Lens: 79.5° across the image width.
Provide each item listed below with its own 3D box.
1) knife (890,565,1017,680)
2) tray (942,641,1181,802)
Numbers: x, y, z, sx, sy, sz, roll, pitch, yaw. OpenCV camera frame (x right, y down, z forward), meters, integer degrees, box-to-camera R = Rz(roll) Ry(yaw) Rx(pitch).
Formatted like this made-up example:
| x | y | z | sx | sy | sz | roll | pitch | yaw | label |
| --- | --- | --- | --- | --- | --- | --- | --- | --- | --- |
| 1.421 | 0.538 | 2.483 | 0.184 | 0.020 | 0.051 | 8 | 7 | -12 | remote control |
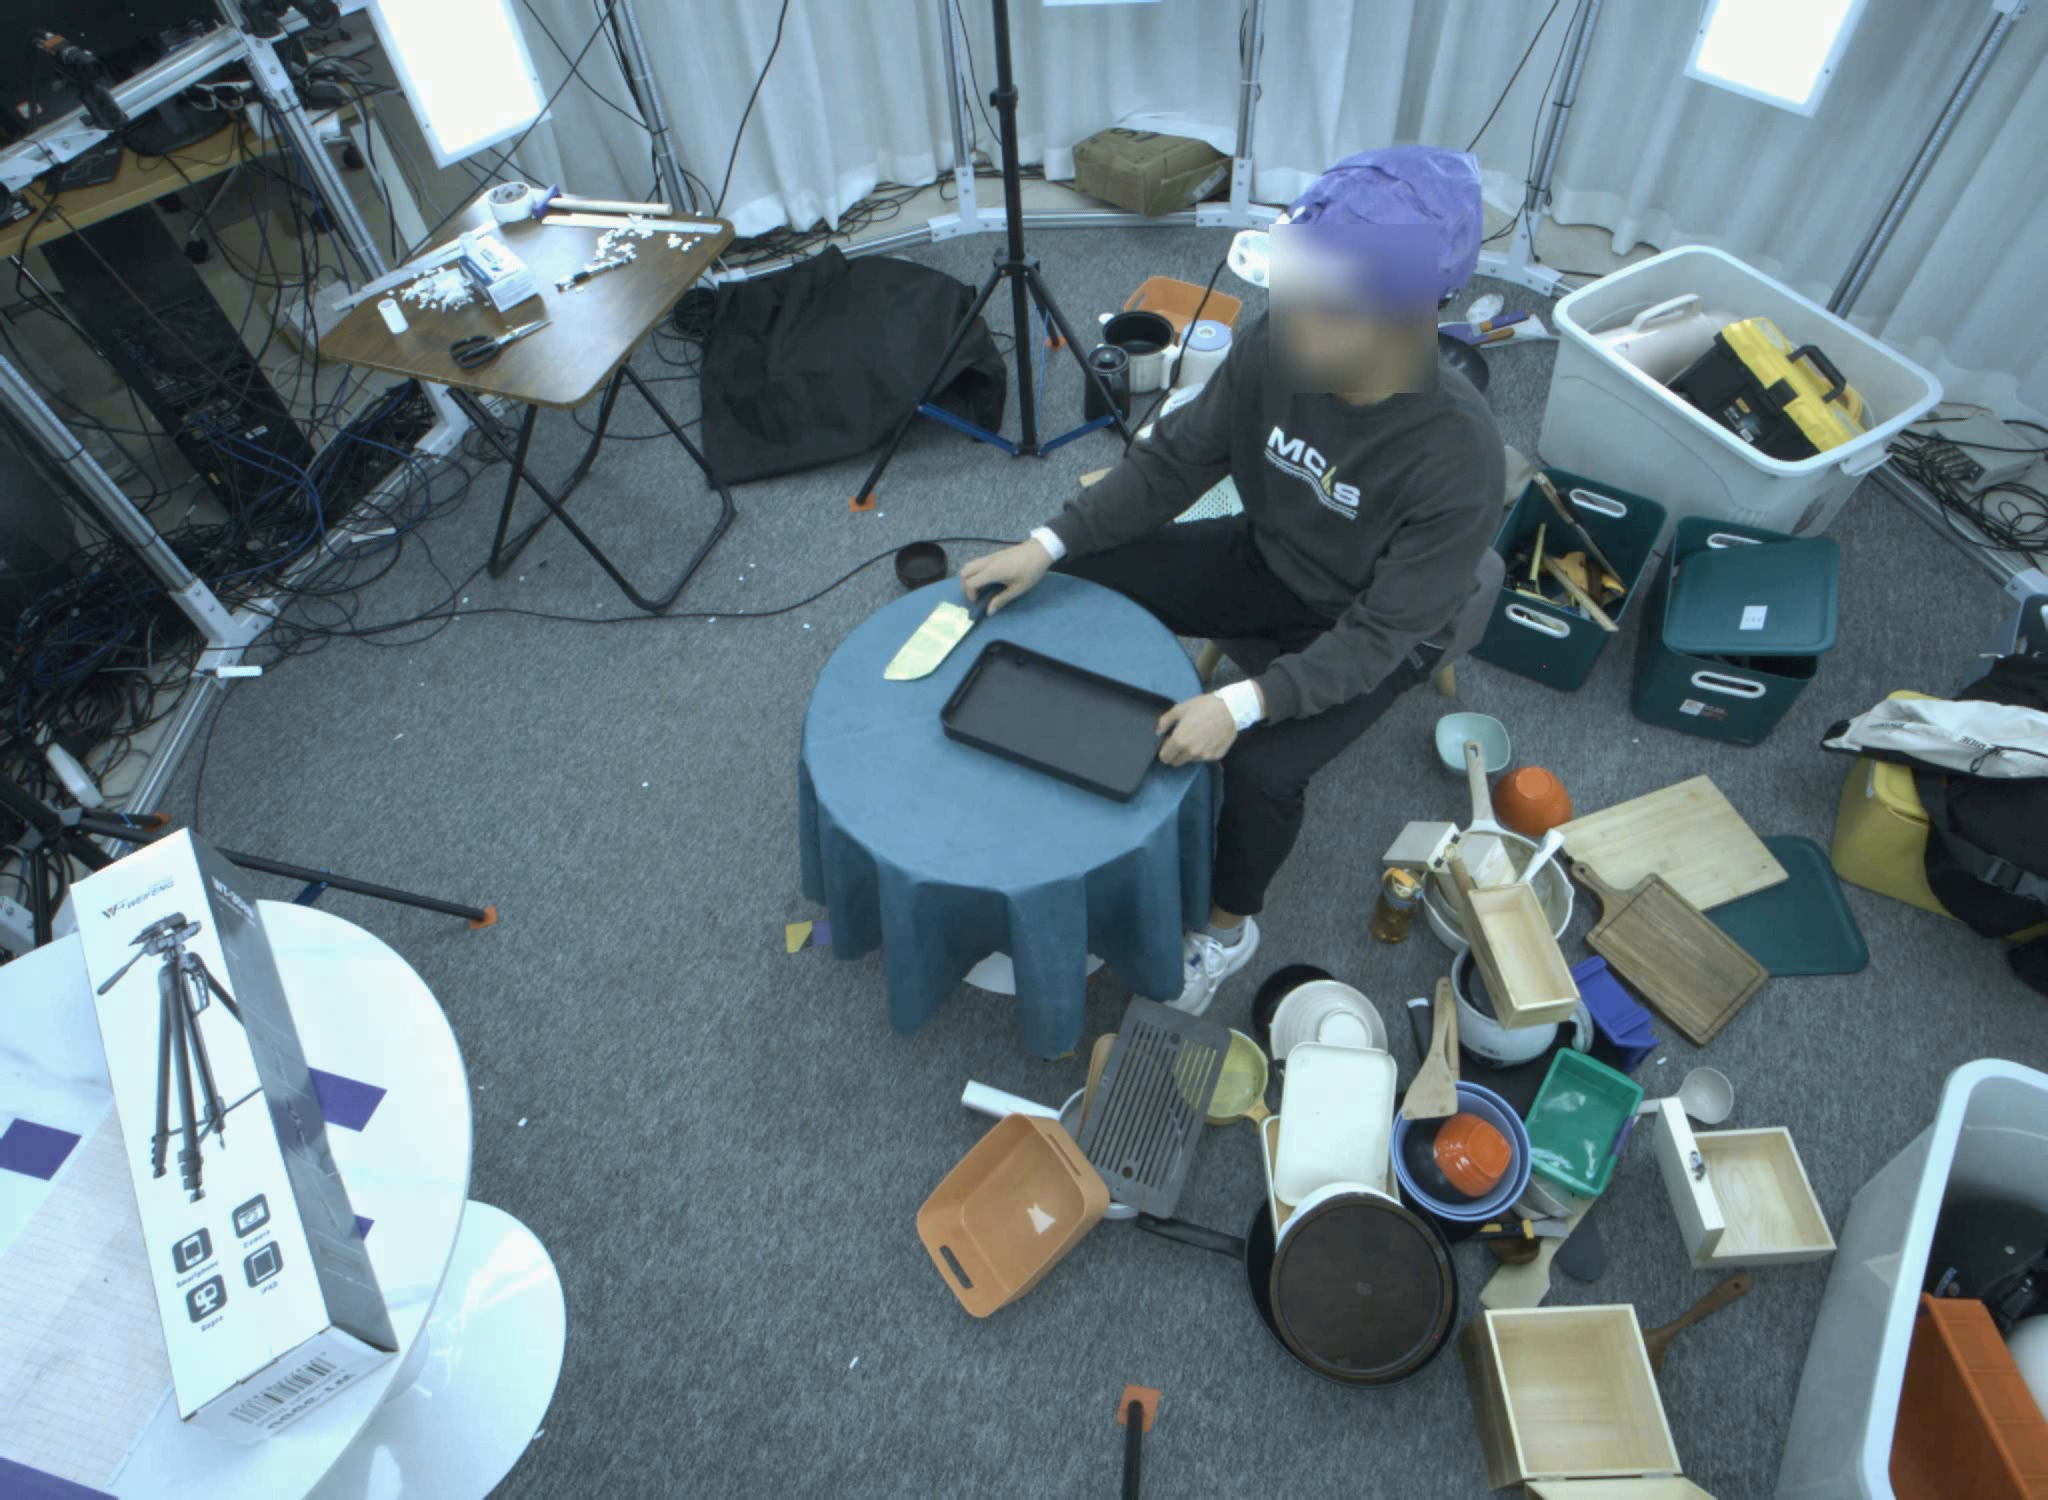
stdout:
| x | y | z | sx | sy | sz | roll | pitch | yaw | label |
| --- | --- | --- | --- | --- | --- | --- | --- | --- | --- |
| -0.111 | -0.204 | 1.936 | 0.079 | 0.027 | 0.291 | 30 | 61 | 23 | knife |
| 0.055 | -0.045 | 1.804 | 0.314 | 0.037 | 0.184 | 20 | 56 | 15 | tray |
